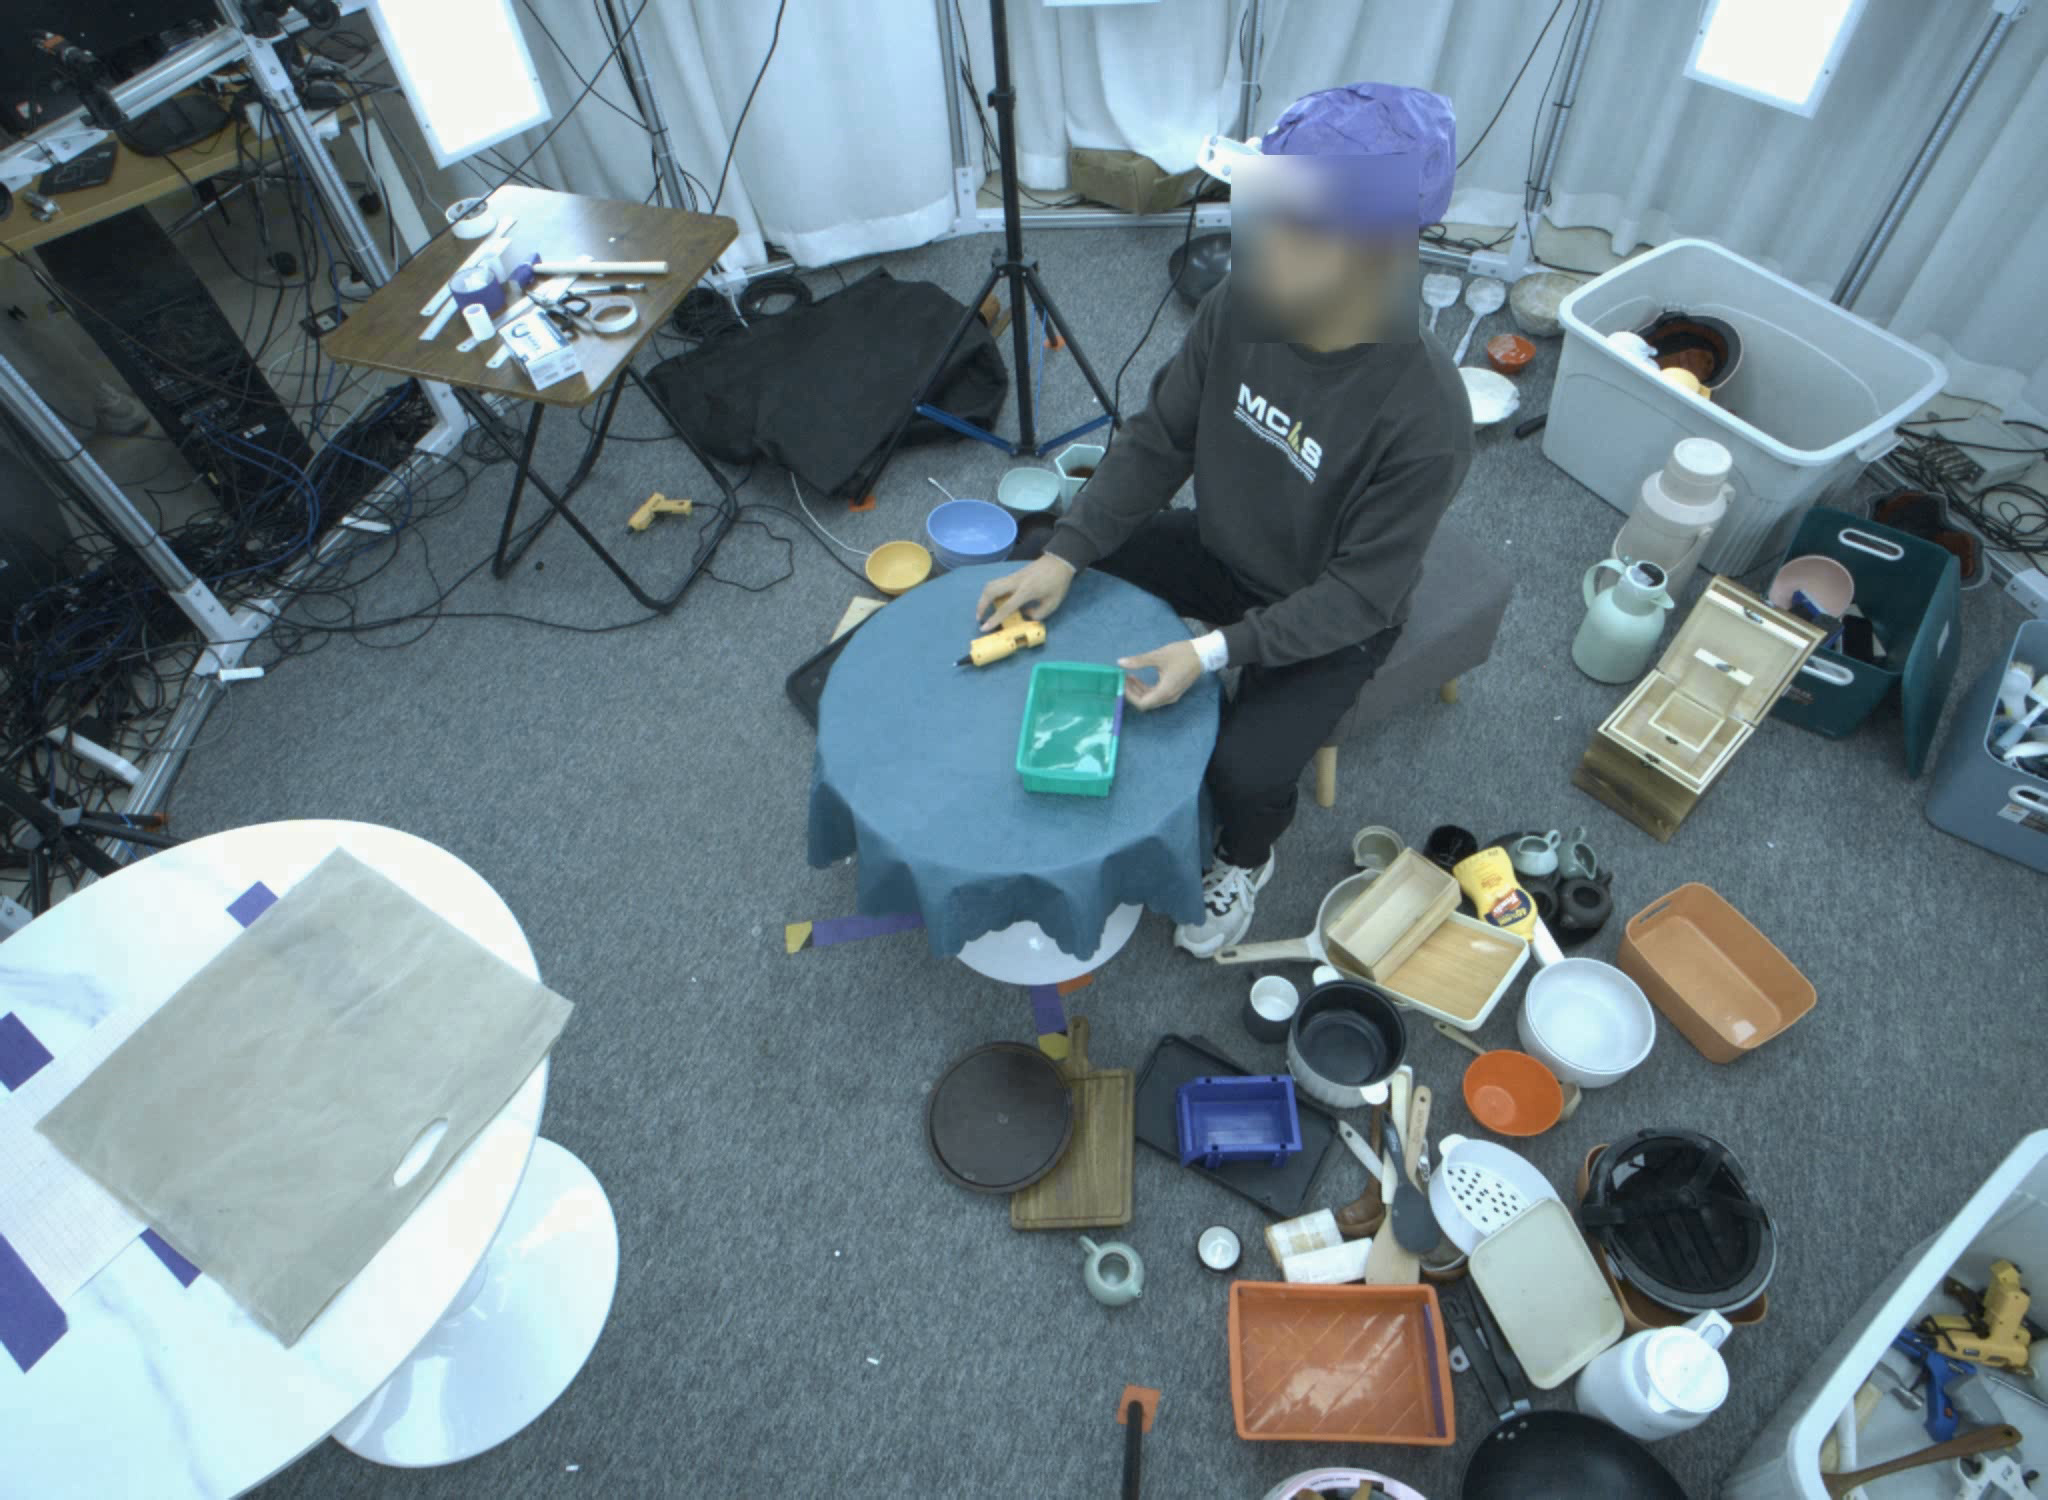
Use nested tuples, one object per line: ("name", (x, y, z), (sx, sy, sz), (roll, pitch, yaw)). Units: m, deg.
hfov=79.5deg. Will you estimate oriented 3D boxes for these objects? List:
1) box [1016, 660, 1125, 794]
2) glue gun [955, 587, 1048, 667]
("box", (0.069, -0.030, 1.766), (0.138, 0.066, 0.209), (5, 53, 4))
("glue gun", (-0.056, -0.185, 1.906), (0.152, 0.031, 0.130), (-24, 56, -14))
